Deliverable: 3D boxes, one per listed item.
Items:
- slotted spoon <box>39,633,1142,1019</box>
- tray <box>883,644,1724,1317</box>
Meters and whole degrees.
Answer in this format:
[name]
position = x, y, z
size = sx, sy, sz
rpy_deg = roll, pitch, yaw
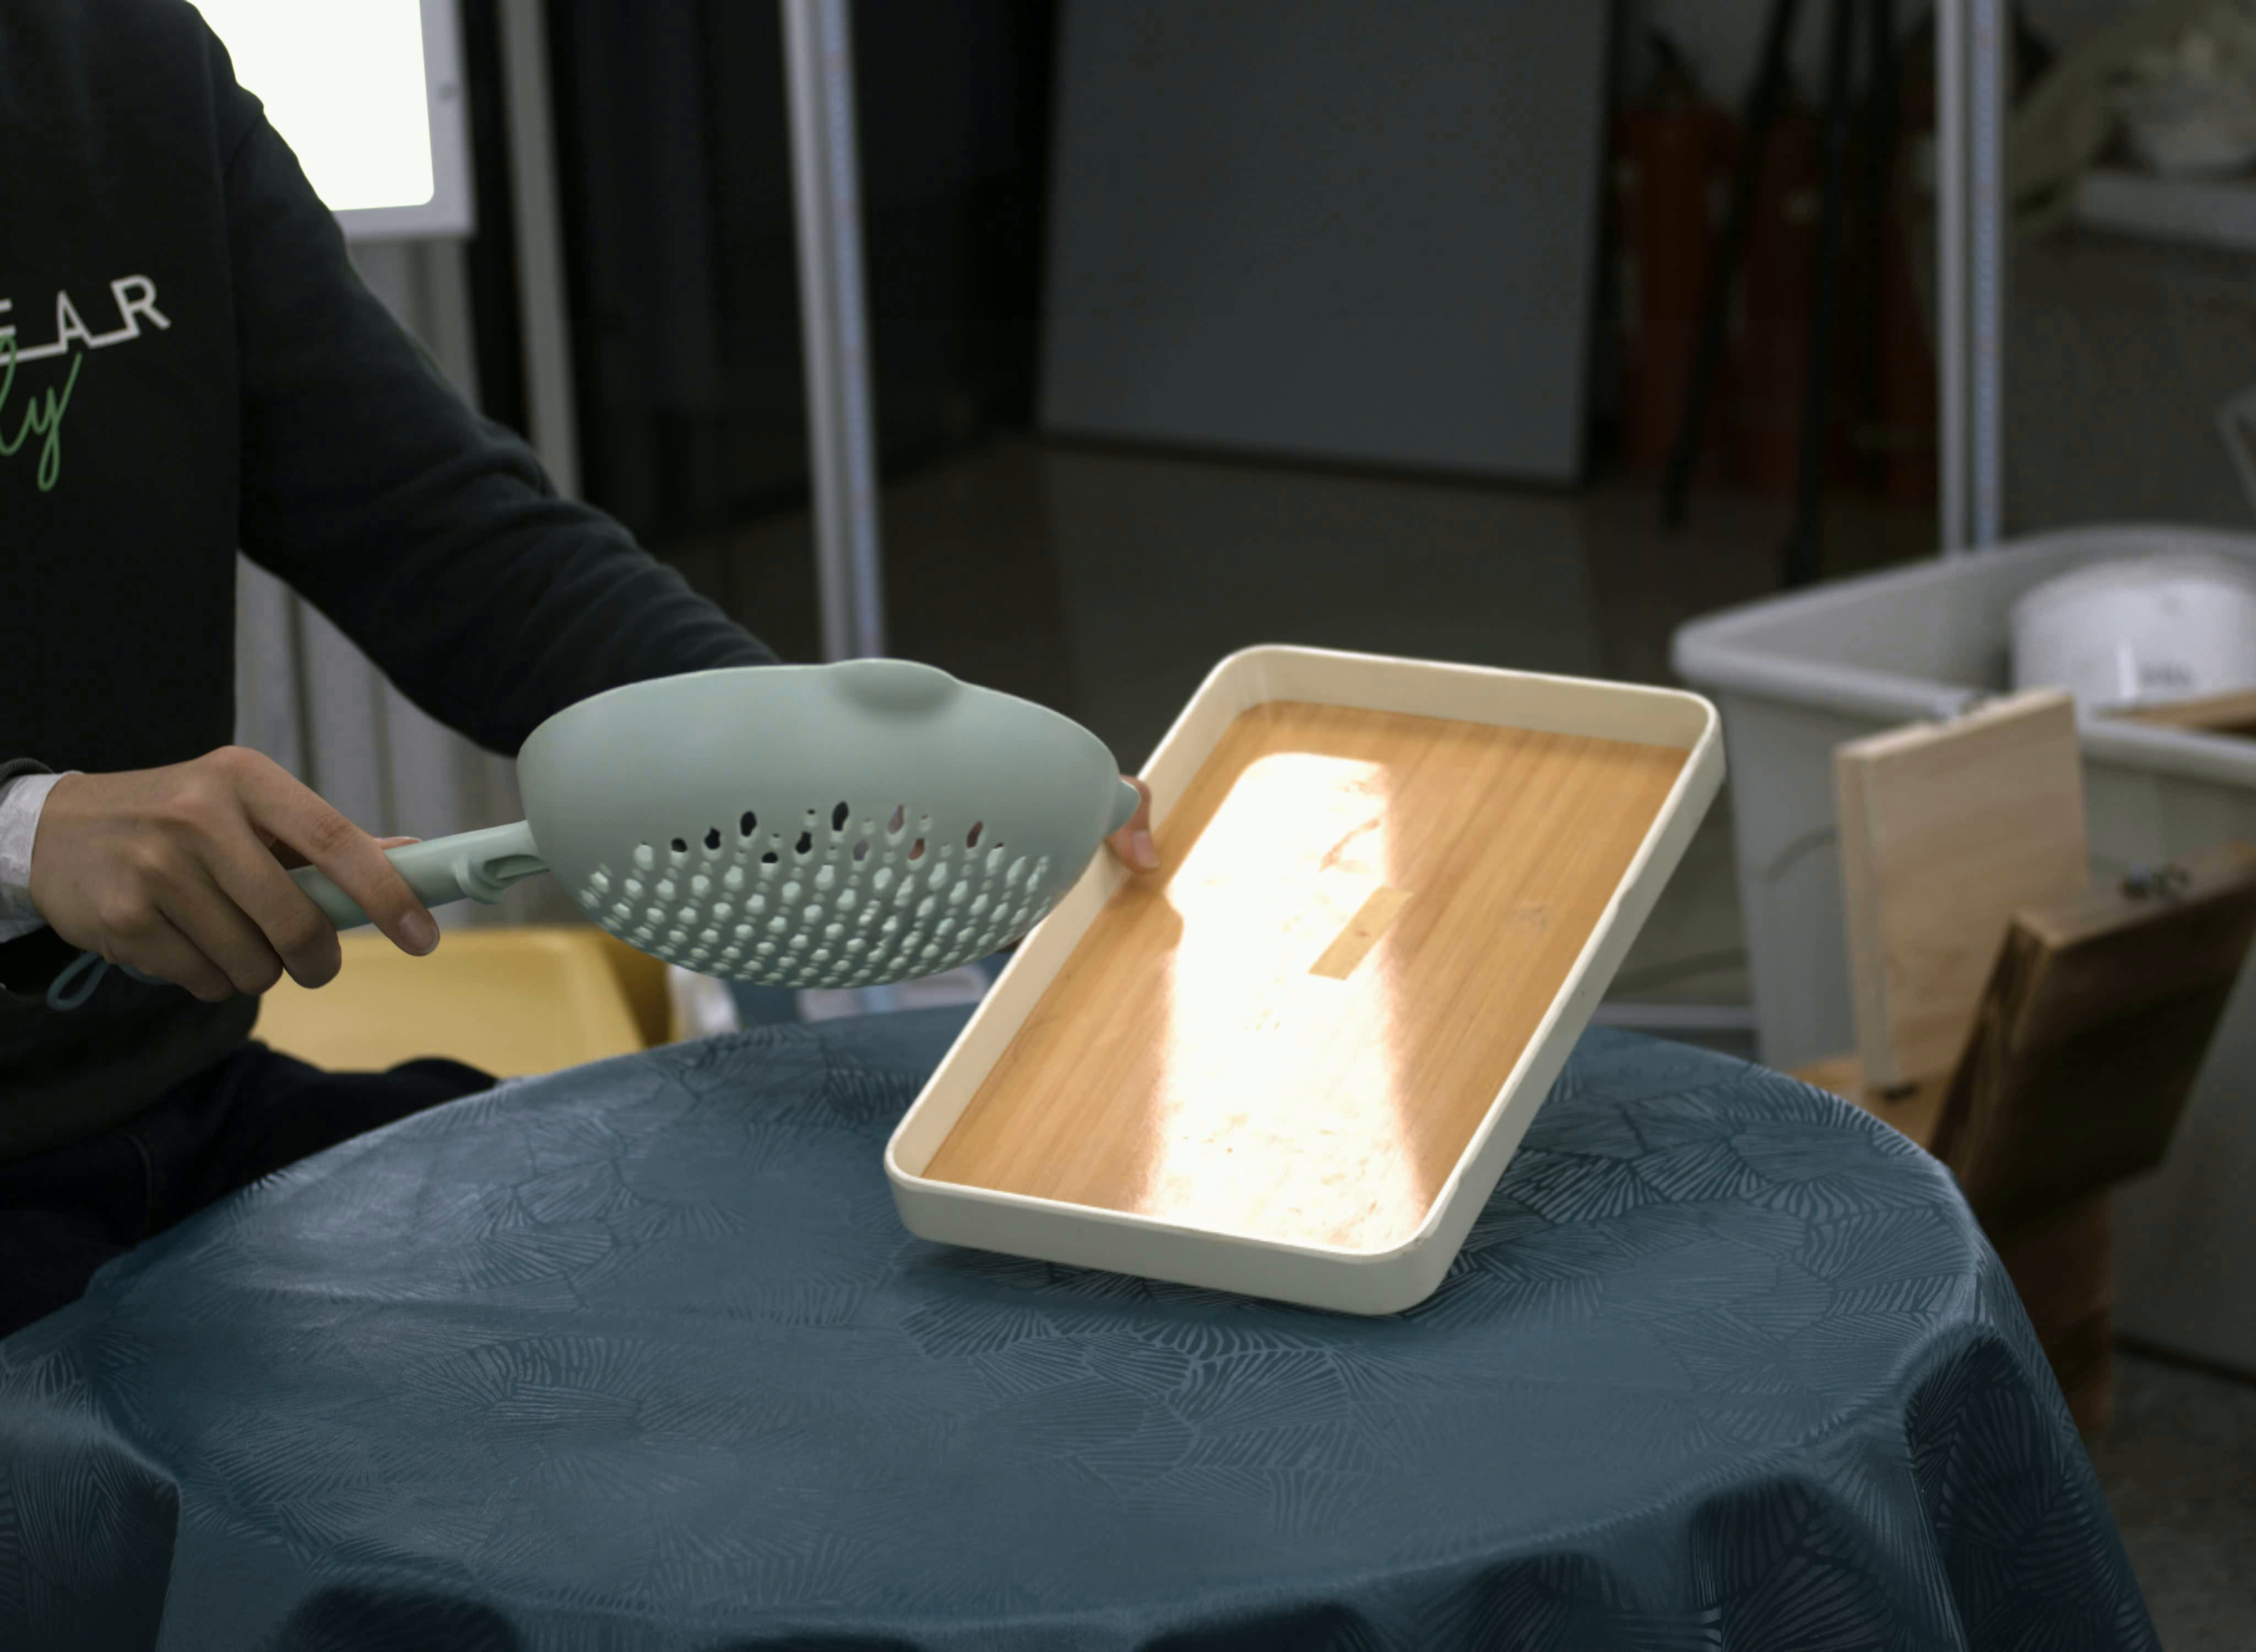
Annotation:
[slotted spoon]
position = -0.169, 0.012, 1.552
size = 0.360, 0.076, 0.167
rpy_deg = -4, -21, 31
[tray]
position = 0.063, 0.043, 1.763
size = 0.192, 0.027, 0.298
rpy_deg = 7, 40, 27
